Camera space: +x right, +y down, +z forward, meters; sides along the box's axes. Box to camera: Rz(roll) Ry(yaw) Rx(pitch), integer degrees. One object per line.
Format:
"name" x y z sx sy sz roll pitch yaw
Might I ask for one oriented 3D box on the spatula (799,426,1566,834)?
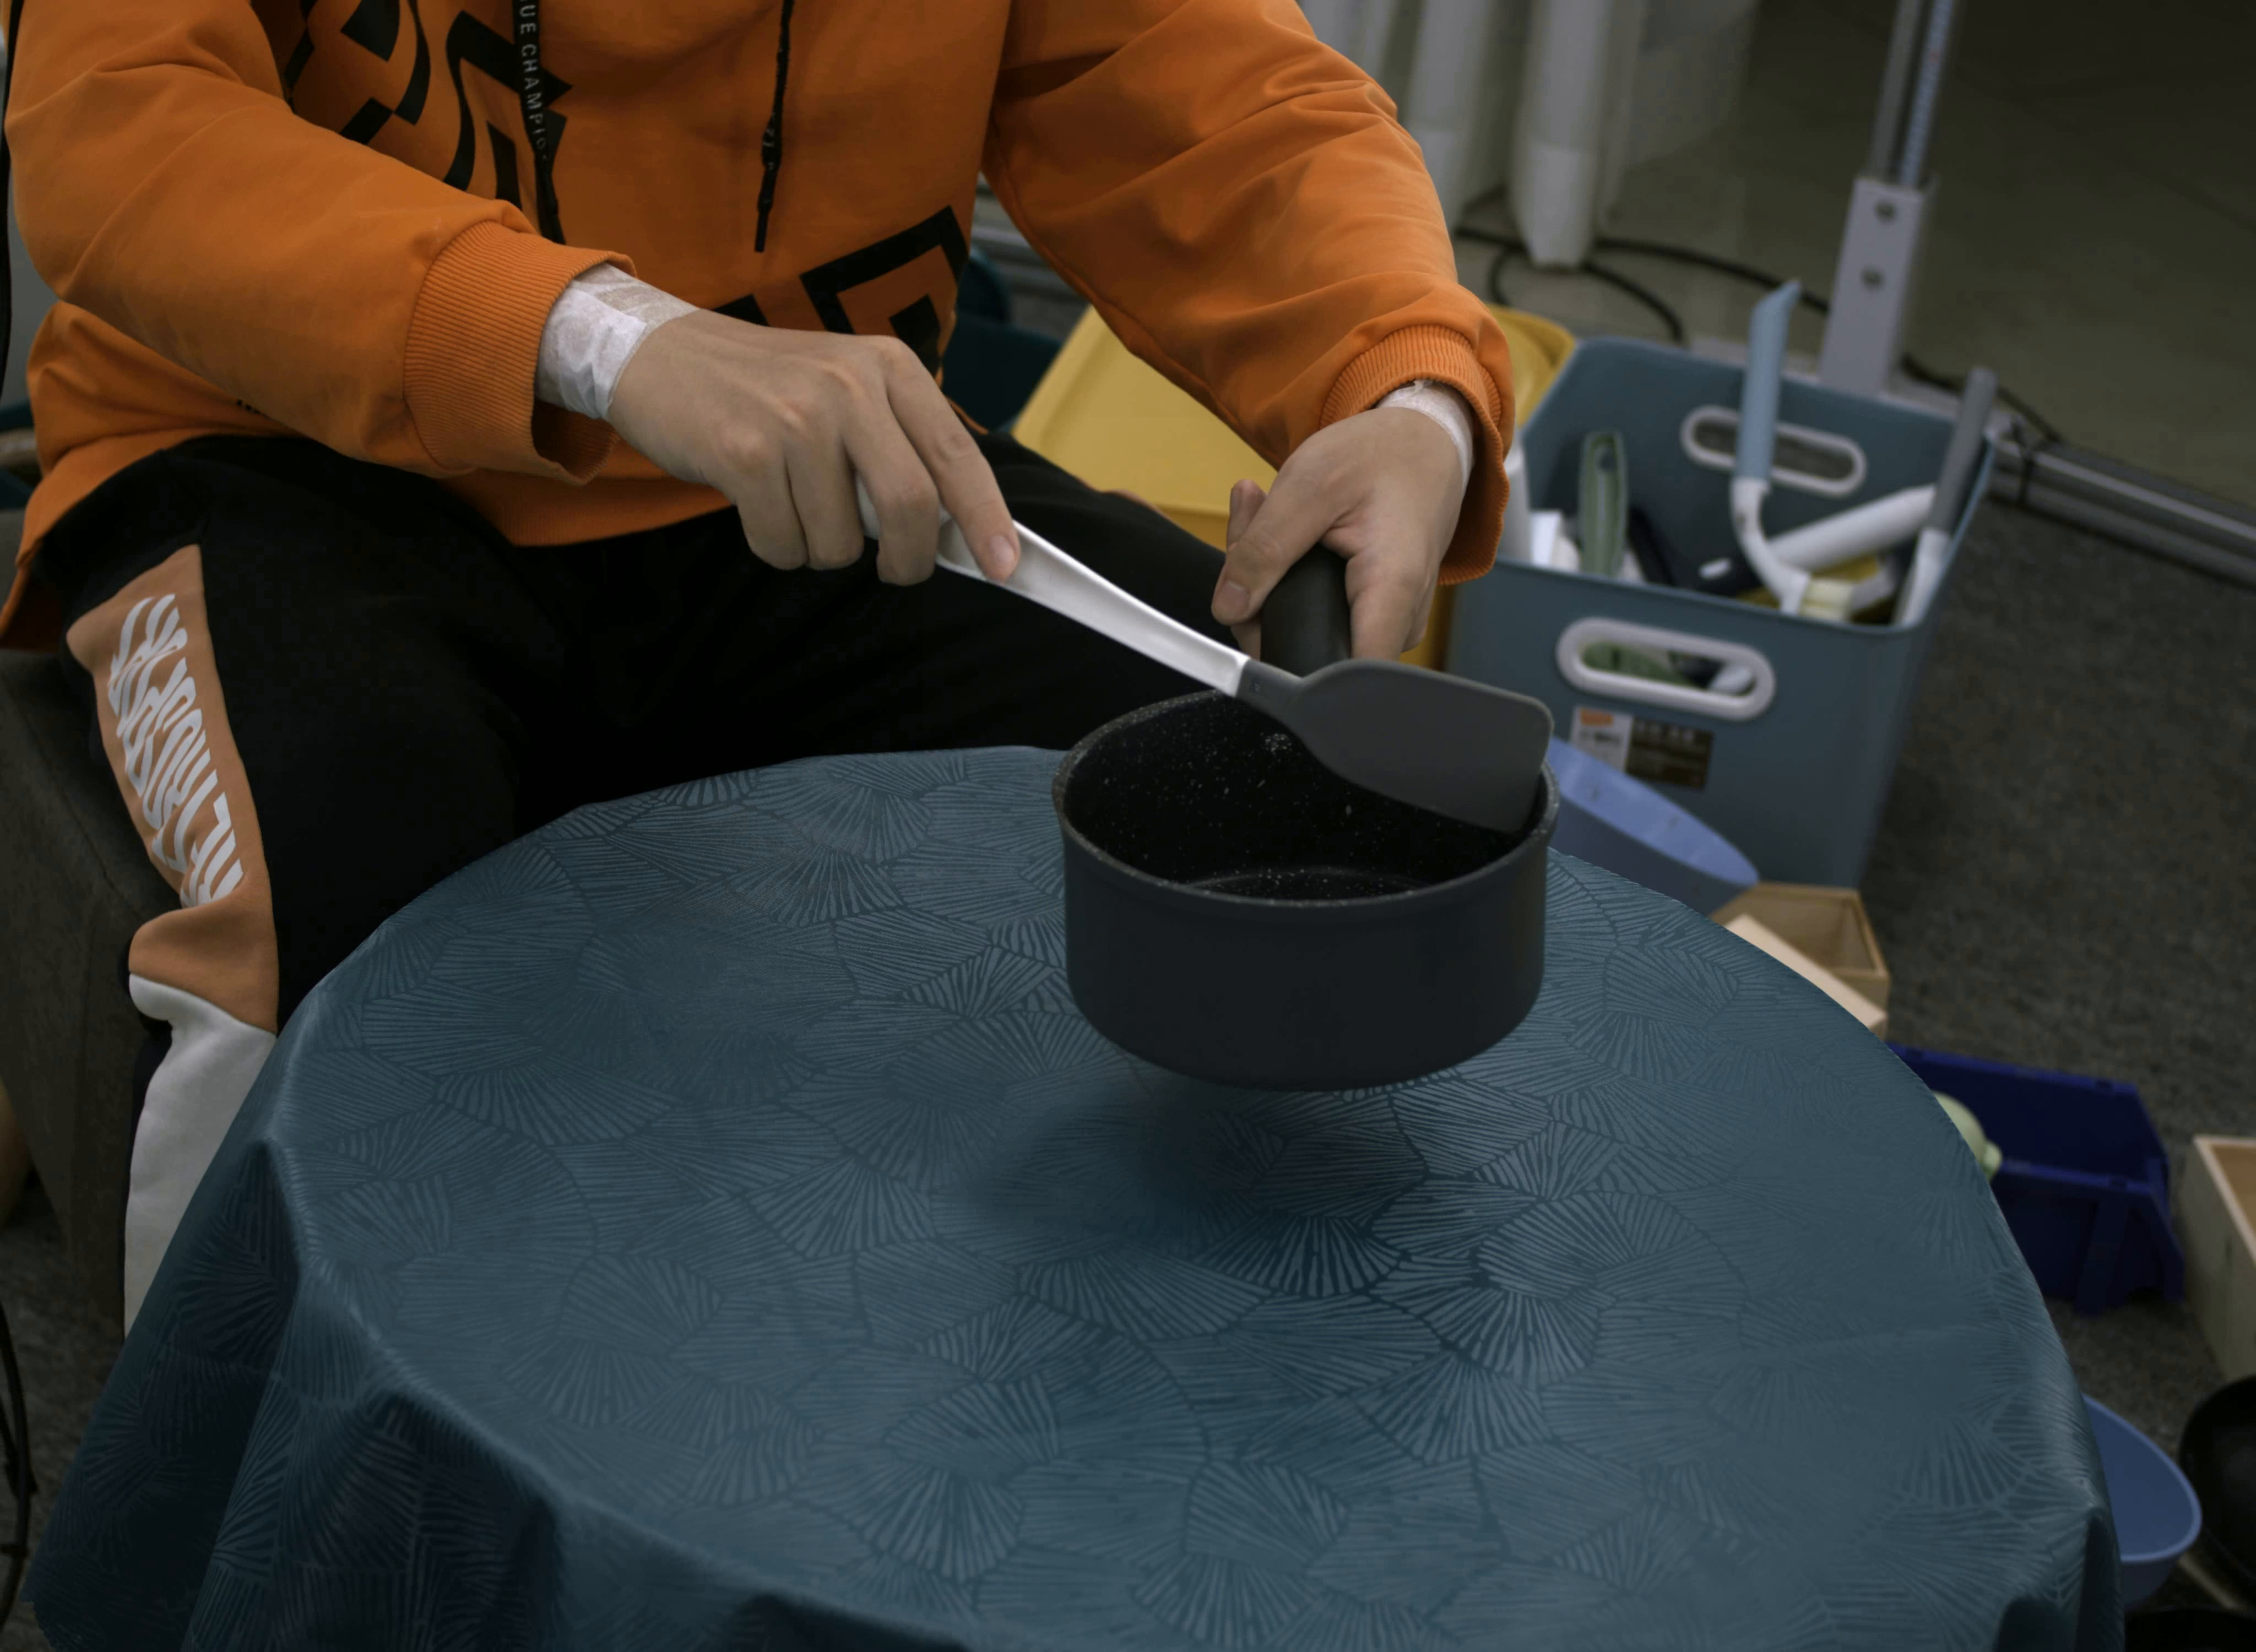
"spatula" 0.015 -0.070 1.828 0.289 0.058 0.032 24 26 19

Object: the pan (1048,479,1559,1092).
"pan" 0.064 -0.018 1.868 0.171 0.086 0.330 2 28 4
